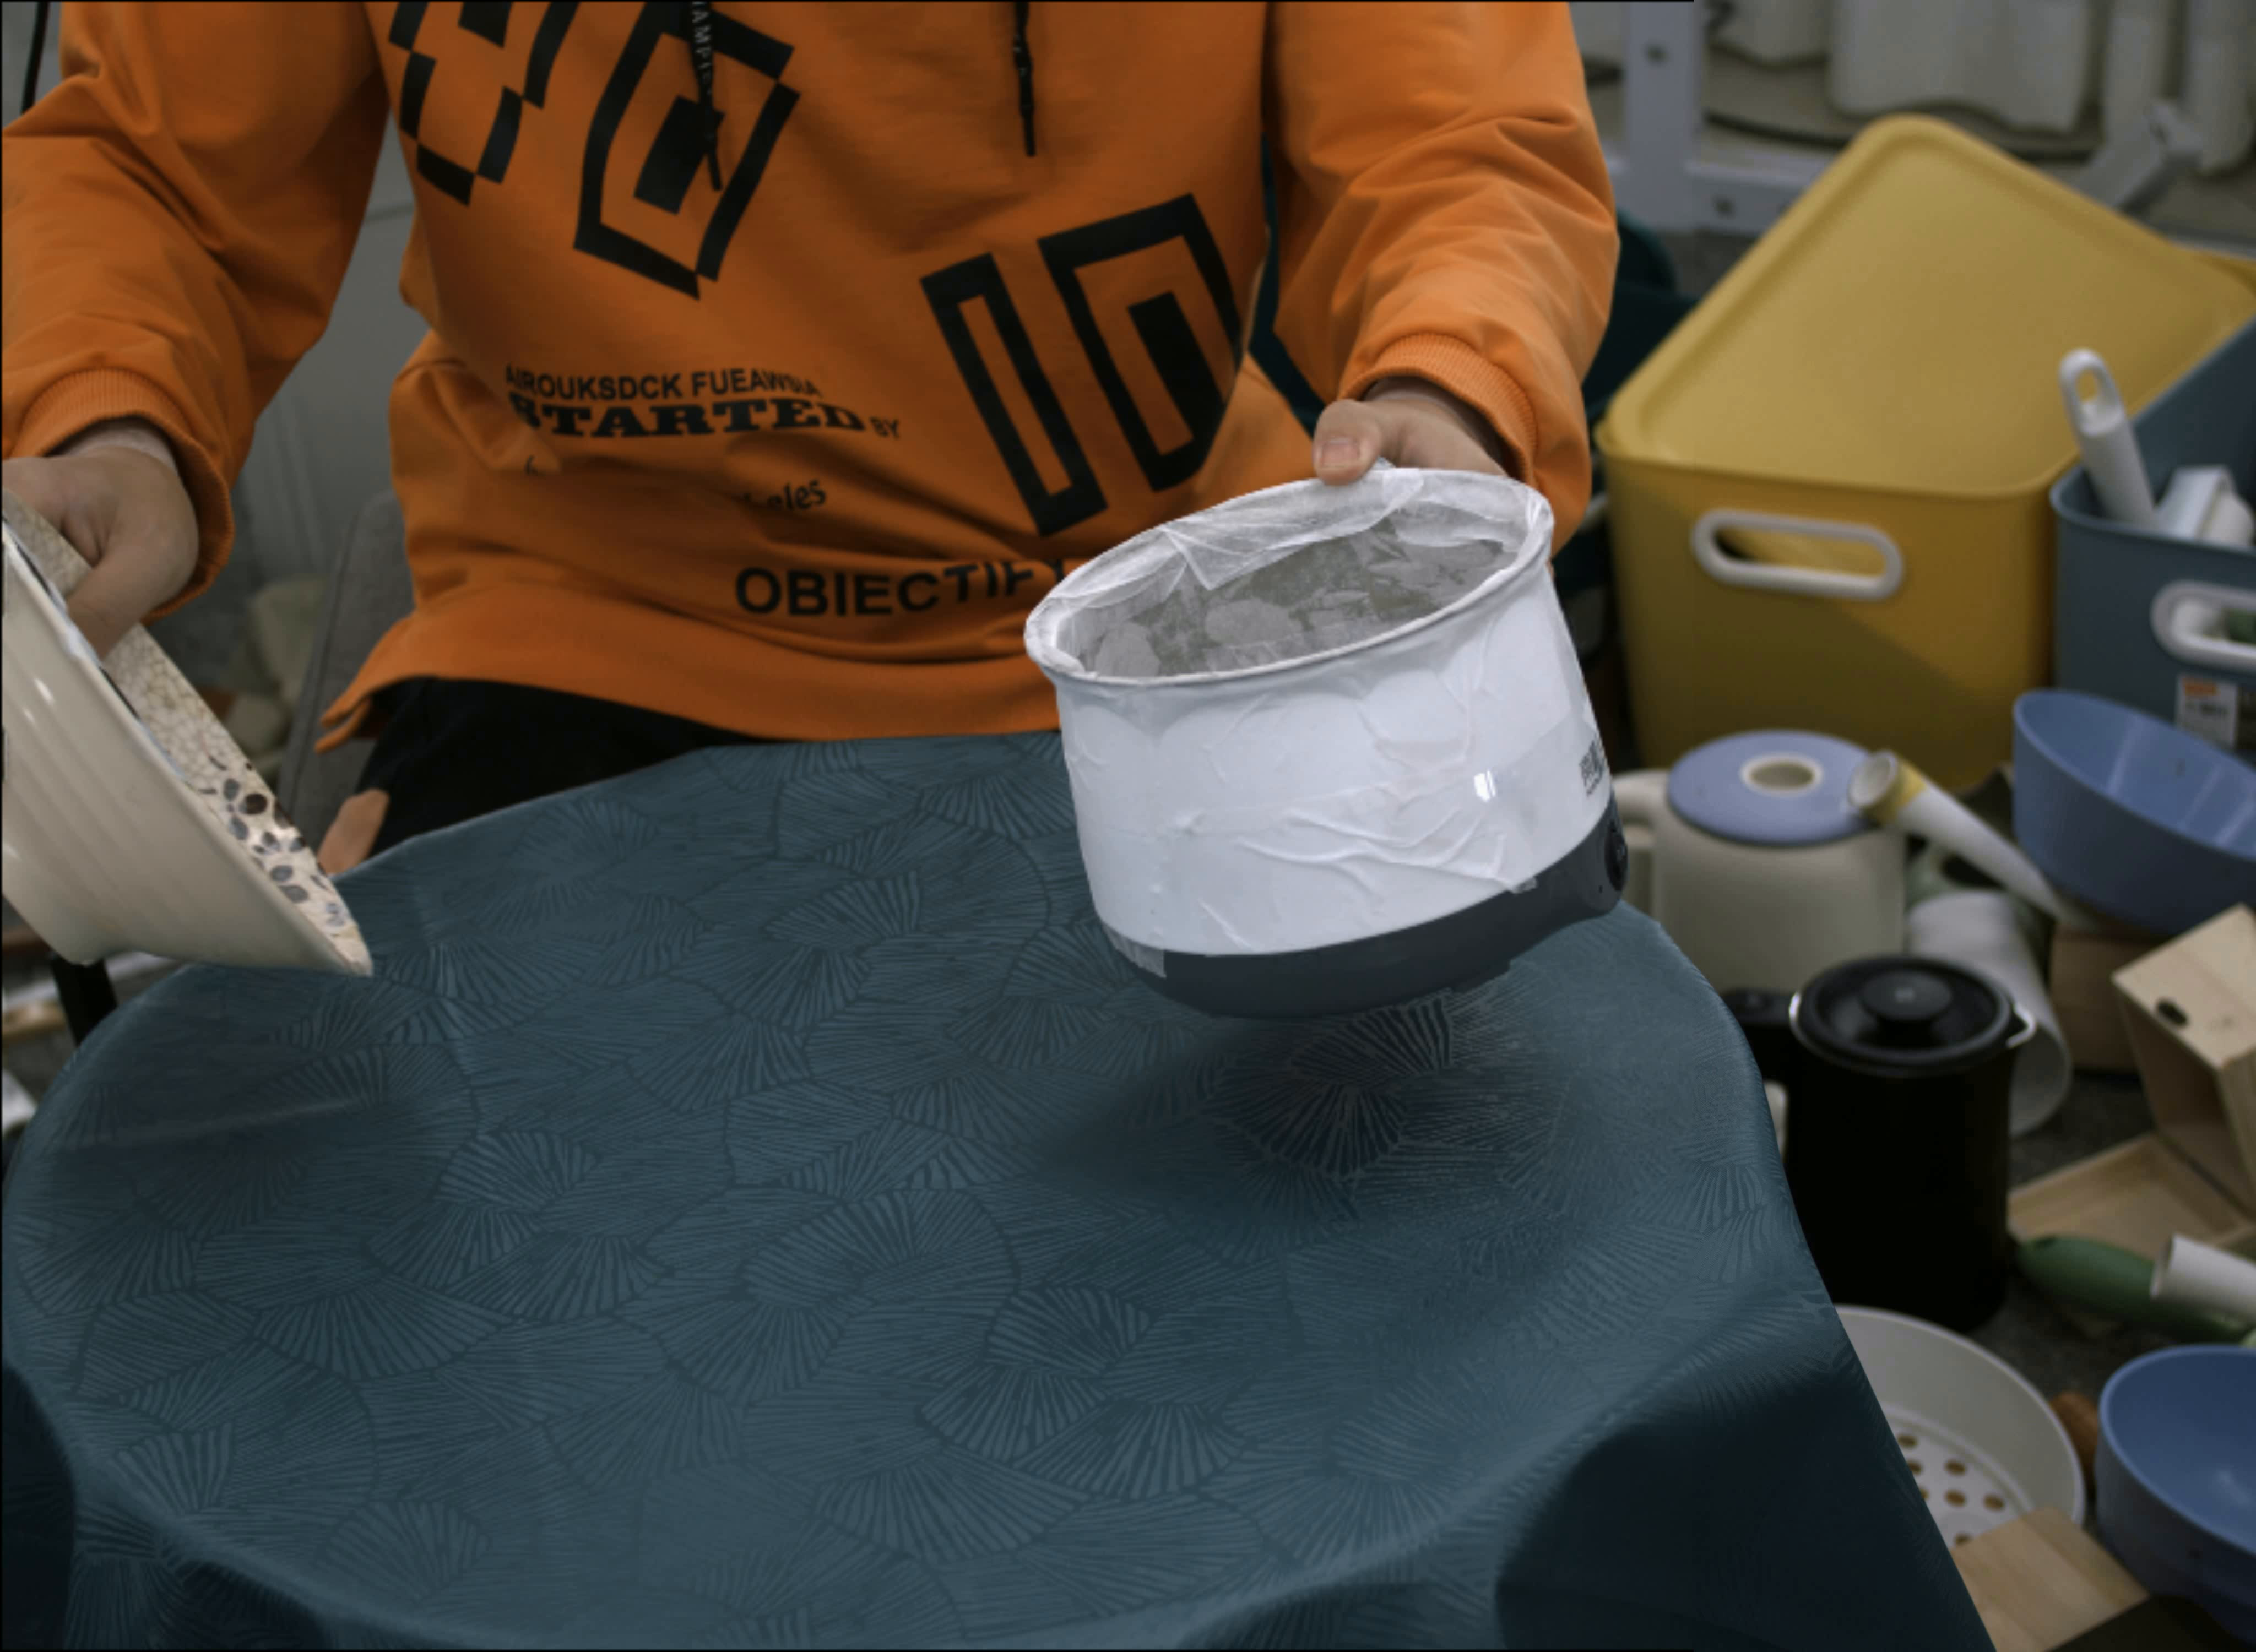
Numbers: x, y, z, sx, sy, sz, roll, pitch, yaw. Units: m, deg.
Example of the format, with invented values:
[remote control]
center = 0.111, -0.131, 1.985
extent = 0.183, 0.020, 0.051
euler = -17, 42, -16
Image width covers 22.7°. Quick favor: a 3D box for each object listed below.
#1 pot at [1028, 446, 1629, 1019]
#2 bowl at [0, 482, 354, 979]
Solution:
[pot]
center = 0.074, -0.037, 1.878
extent = 0.177, 0.135, 0.237
euler = -7, 21, 17
[bowl]
center = -0.344, -0.011, 1.851
extent = 0.078, 0.202, 0.205
euler = -37, 34, -5
